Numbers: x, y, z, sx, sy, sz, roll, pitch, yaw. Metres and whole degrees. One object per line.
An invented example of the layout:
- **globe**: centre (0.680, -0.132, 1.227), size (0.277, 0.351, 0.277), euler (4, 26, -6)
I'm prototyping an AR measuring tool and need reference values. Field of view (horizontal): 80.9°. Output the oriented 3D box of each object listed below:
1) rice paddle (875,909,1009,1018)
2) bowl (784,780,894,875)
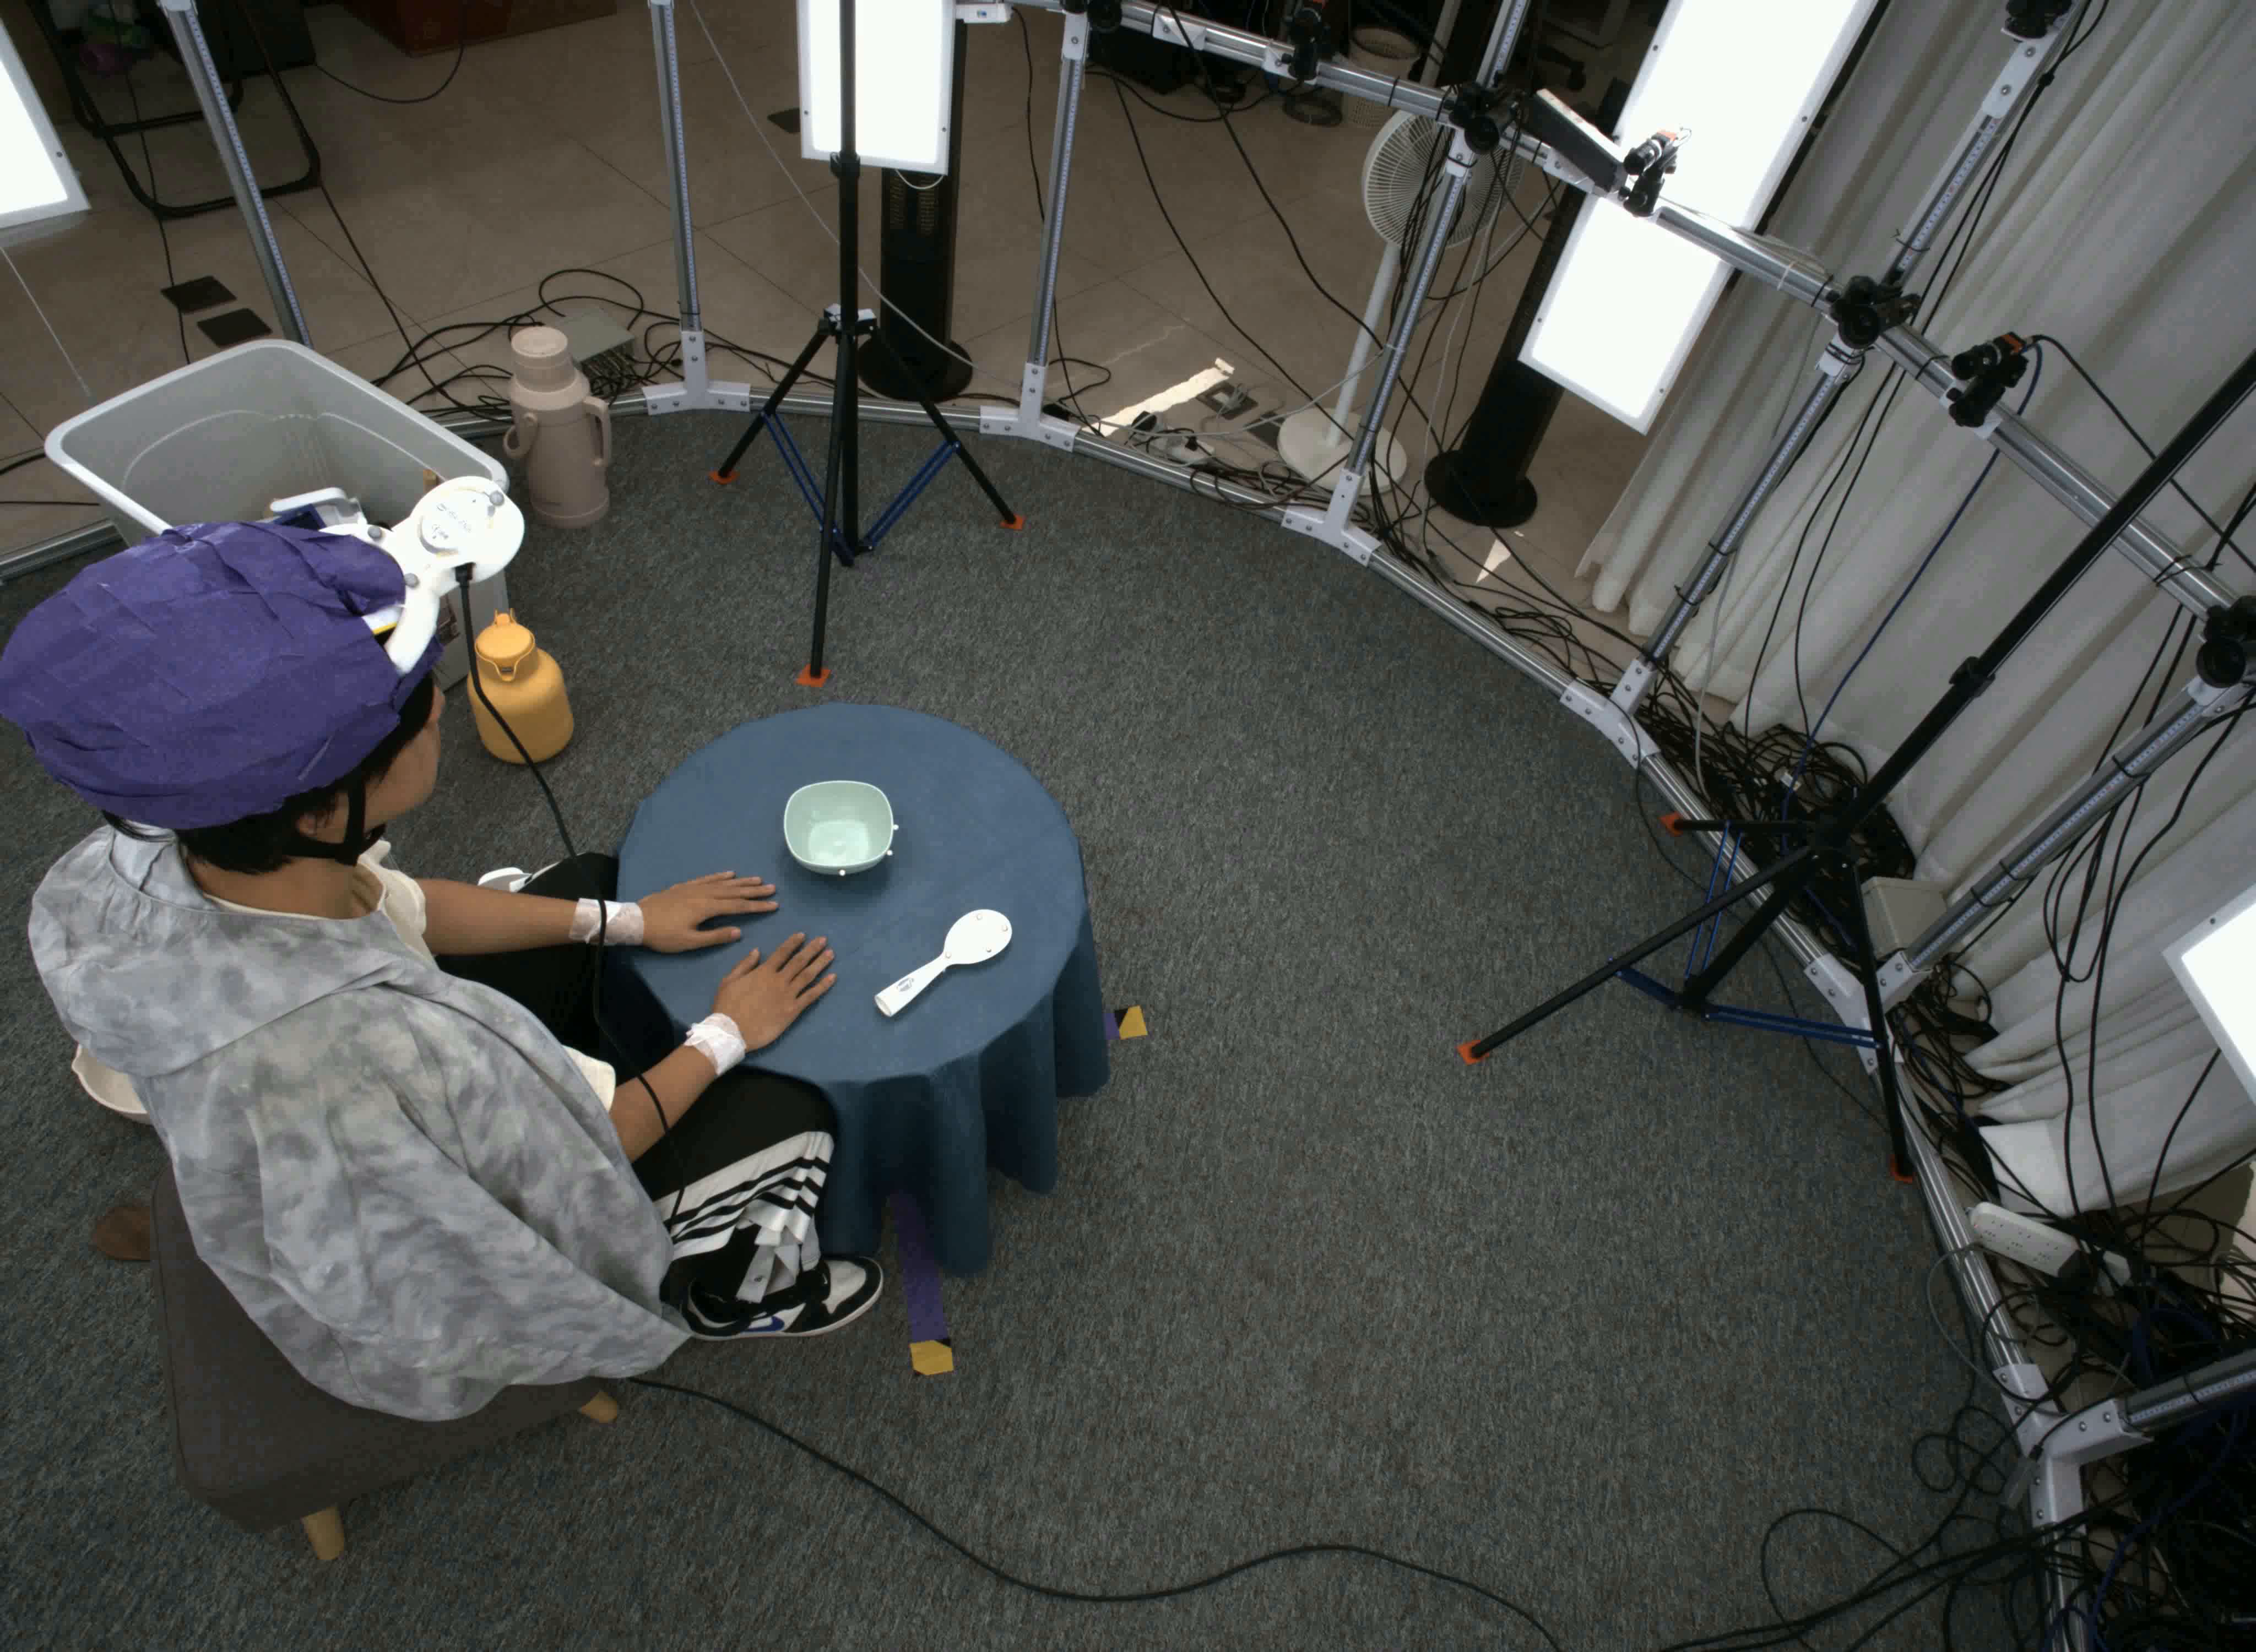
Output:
- **rice paddle**: centre (-0.230, 0.166, 1.631), size (0.067, 0.030, 0.205), euler (41, 55, 16)
- **bowl**: centre (-0.377, 0.011, 1.692), size (0.151, 0.060, 0.149), euler (9, 52, -10)
